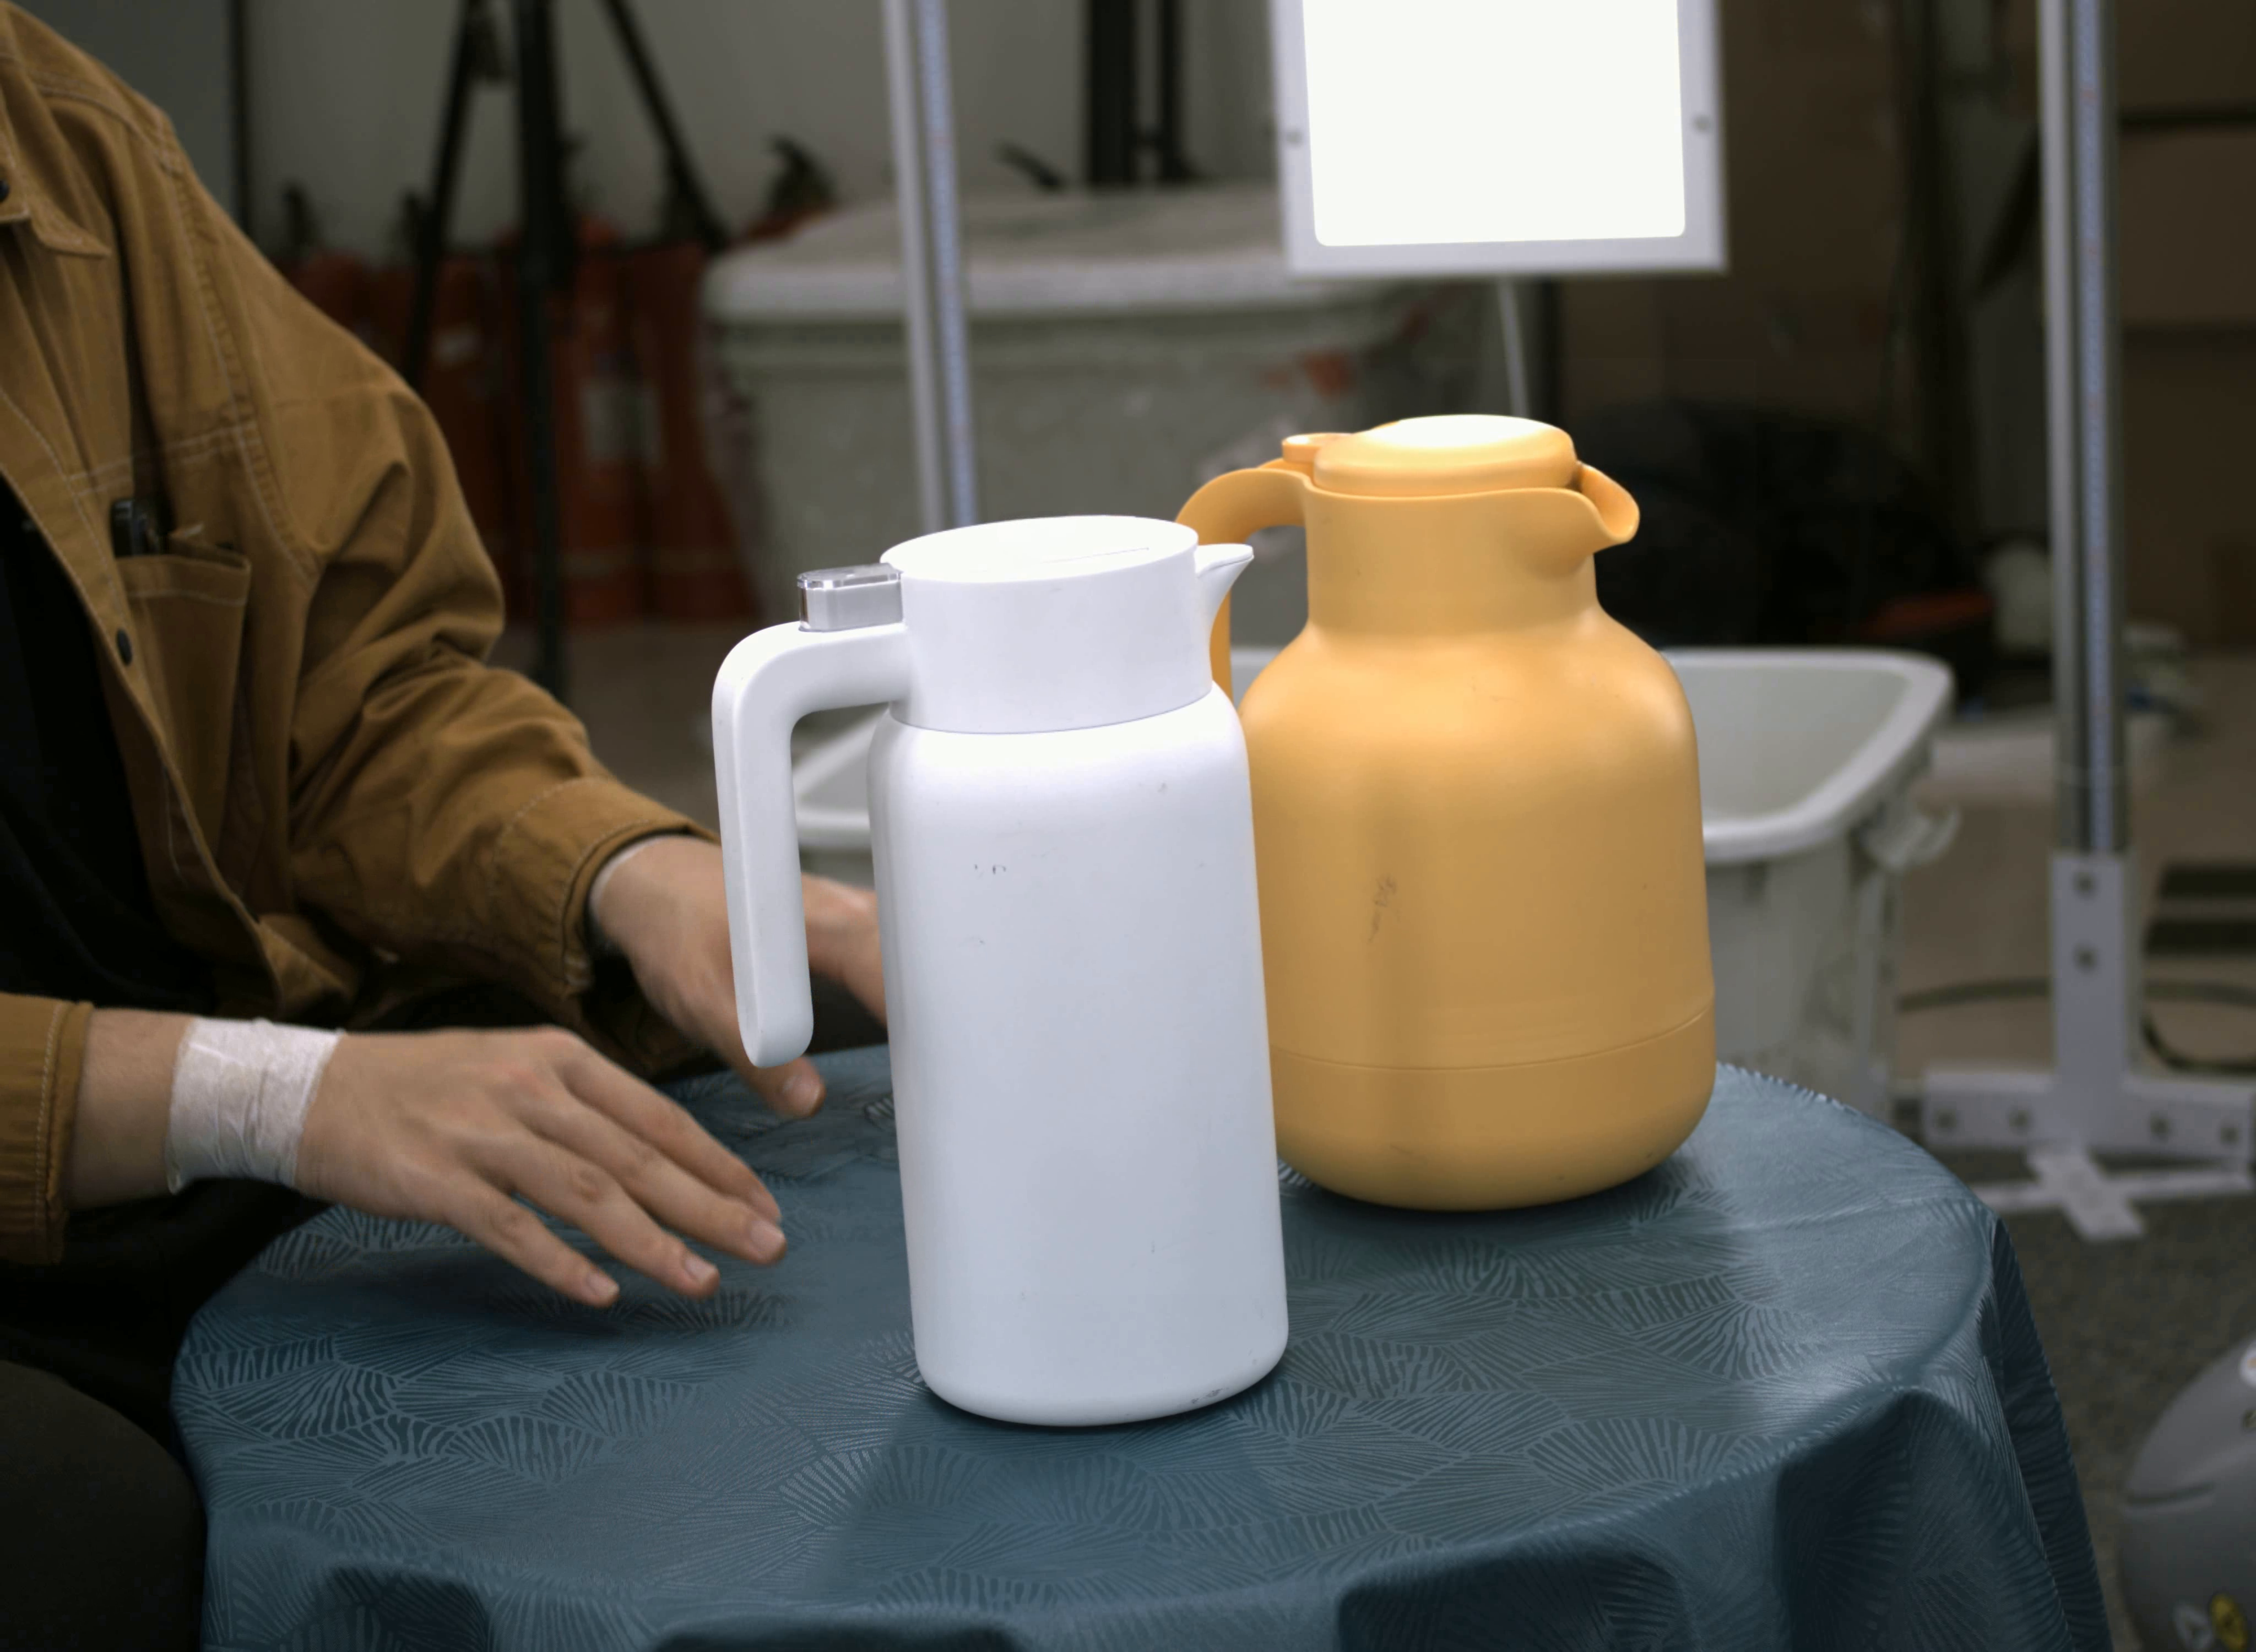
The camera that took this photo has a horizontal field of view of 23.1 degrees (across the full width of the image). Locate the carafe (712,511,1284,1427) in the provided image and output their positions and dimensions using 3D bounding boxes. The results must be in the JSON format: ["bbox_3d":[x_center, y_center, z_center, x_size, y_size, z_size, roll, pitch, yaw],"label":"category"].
[{"bbox_3d":[-0.034,0.045,1.682,0.170,0.270,0.125,-9,16,-16],"label":"carafe"}]

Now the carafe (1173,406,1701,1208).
[{"bbox_3d":[0.099,-0.013,1.876,0.207,0.261,0.159,11,18,43],"label":"carafe"}]
